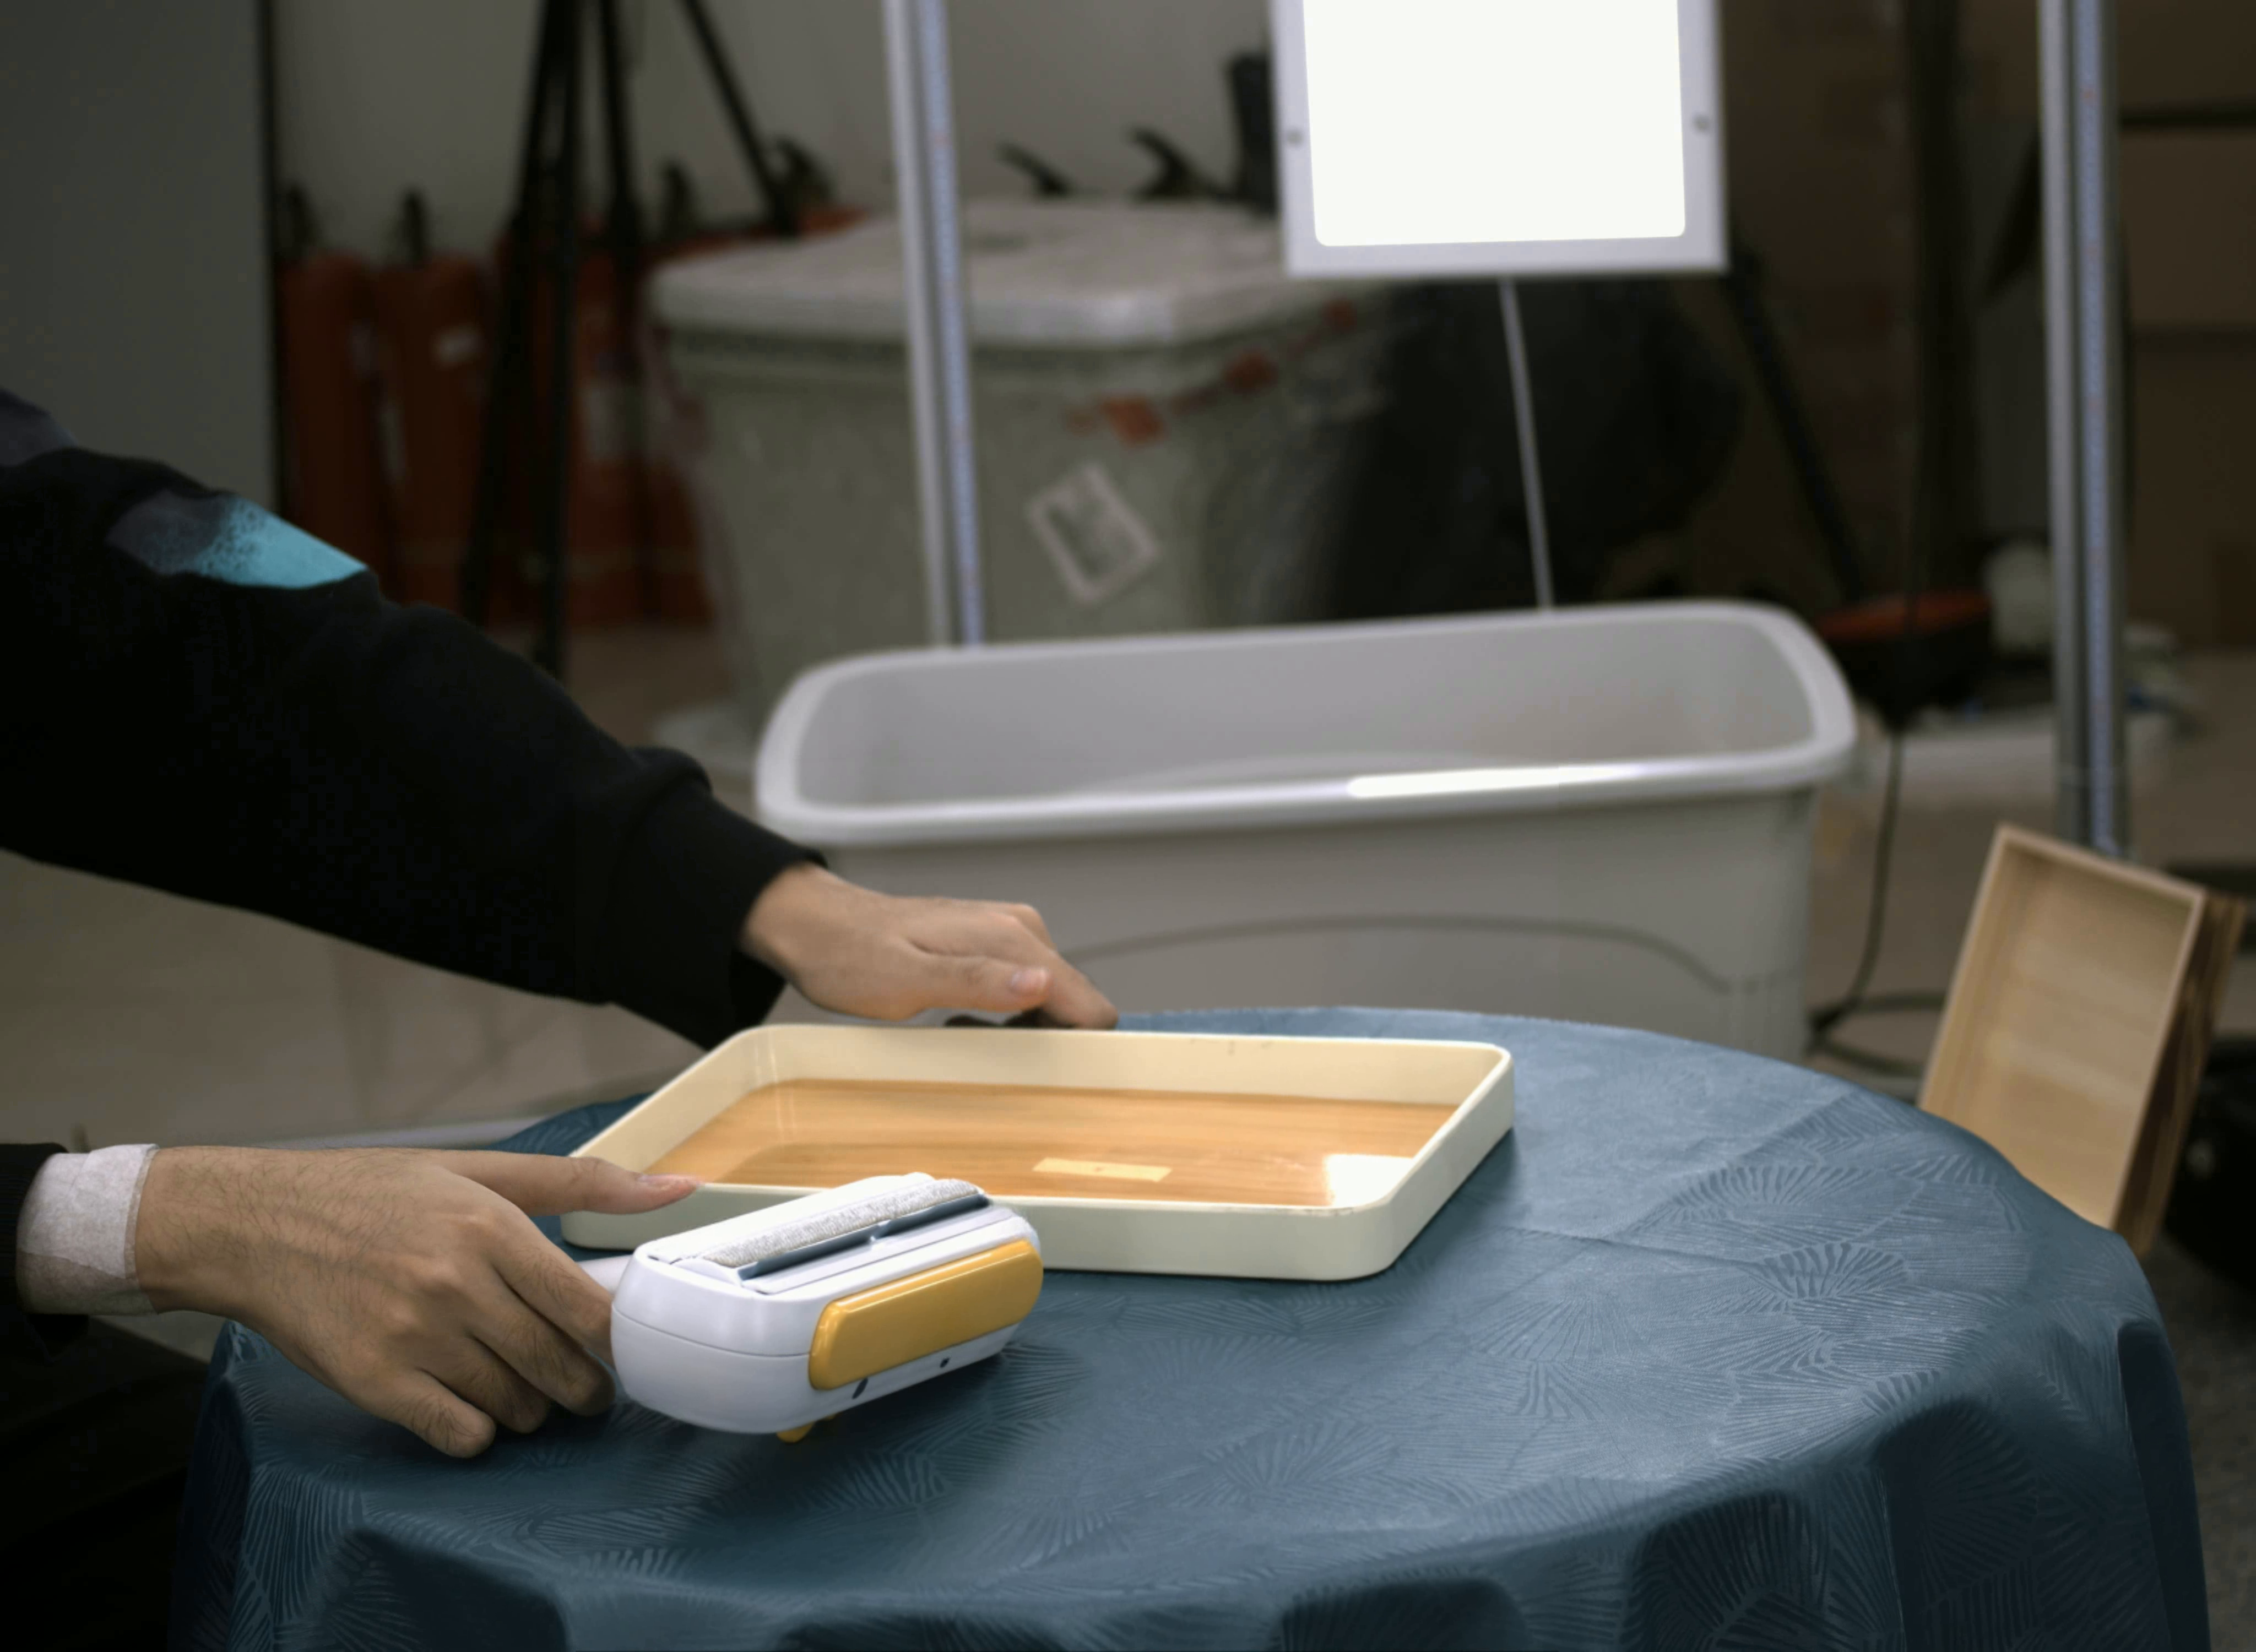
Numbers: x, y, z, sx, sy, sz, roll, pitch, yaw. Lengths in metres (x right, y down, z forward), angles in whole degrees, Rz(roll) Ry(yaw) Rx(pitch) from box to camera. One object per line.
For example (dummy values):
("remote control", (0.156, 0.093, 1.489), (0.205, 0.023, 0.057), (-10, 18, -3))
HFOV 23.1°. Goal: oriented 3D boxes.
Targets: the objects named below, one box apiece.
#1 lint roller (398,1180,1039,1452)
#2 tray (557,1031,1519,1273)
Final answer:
("lint roller", (-0.144, 0.147, 1.709), (0.196, 0.074, 0.188), (5, 12, 30))
("tray", (-0.029, 0.111, 1.912), (0.304, 0.027, 0.188), (0, 14, 22))
